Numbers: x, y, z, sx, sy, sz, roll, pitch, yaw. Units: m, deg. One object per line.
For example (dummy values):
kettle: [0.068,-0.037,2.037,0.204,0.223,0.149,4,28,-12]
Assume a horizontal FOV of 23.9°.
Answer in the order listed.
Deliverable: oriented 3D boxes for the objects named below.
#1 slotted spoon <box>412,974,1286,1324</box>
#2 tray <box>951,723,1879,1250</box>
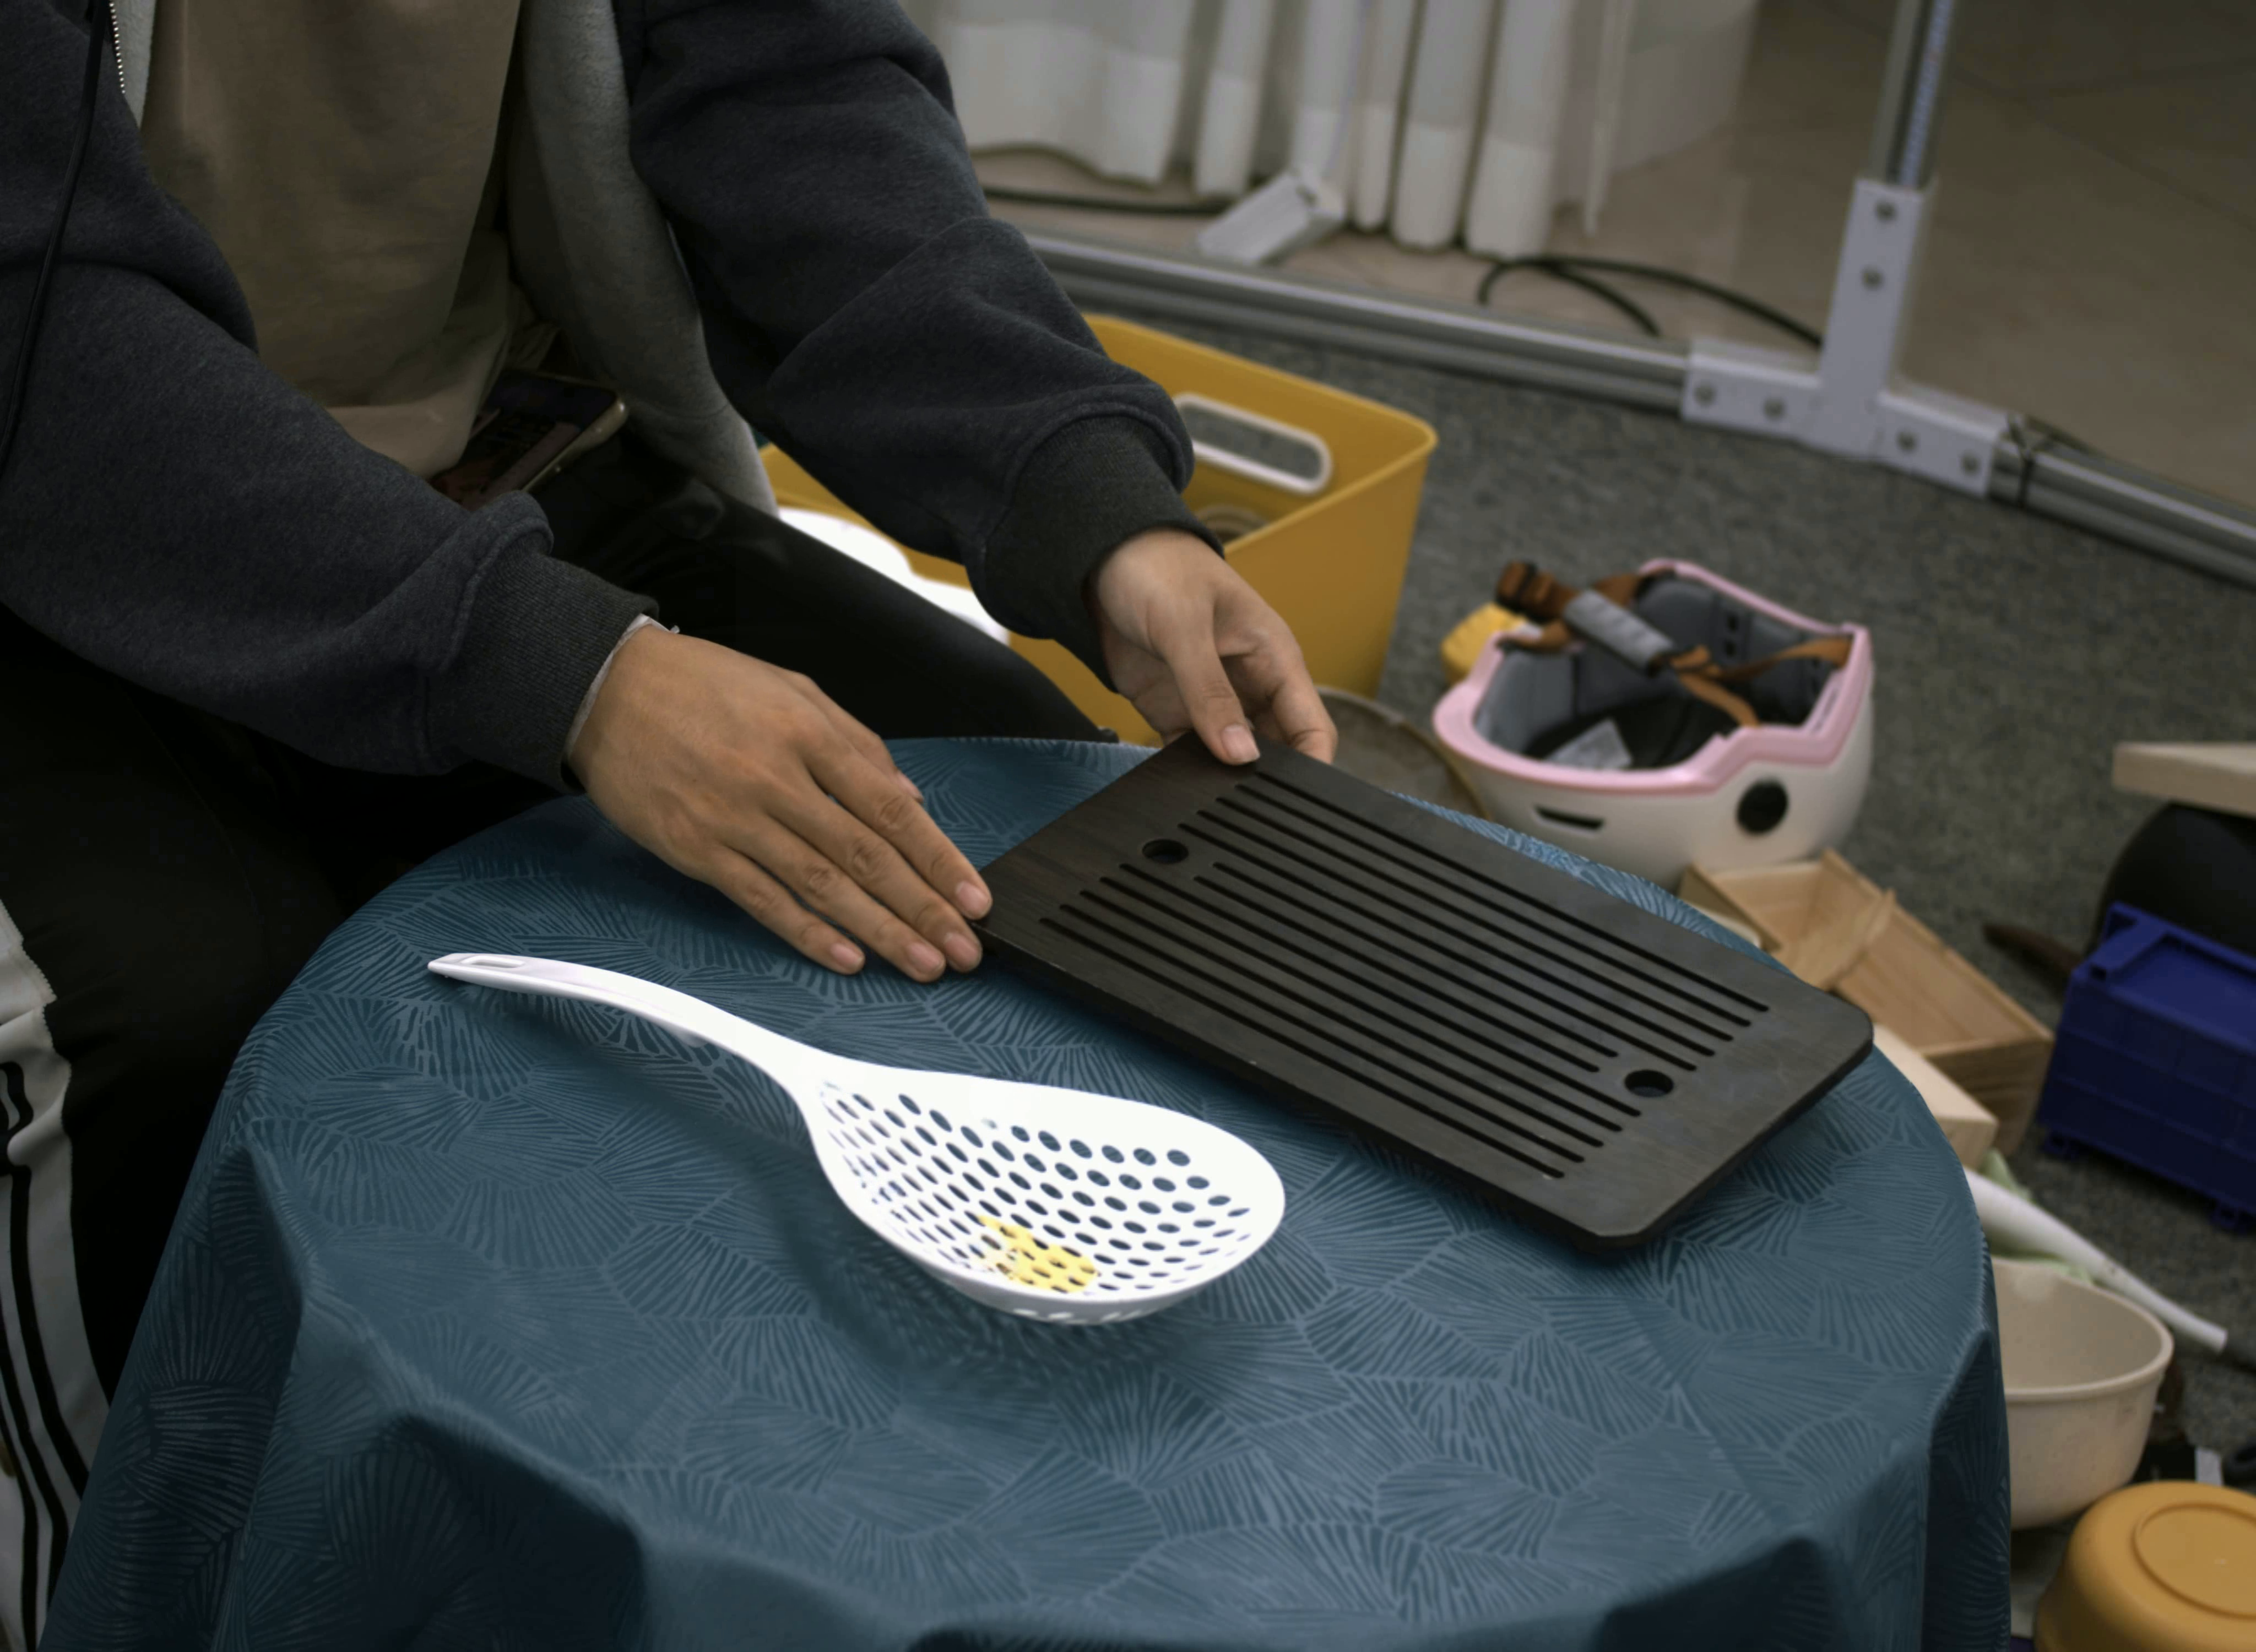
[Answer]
slotted spoon: [-0.106,0.094,1.789,0.350,0.050,0.136,24,34,30]
tray: [0.101,0.054,1.913,0.308,0.018,0.170,25,40,31]
